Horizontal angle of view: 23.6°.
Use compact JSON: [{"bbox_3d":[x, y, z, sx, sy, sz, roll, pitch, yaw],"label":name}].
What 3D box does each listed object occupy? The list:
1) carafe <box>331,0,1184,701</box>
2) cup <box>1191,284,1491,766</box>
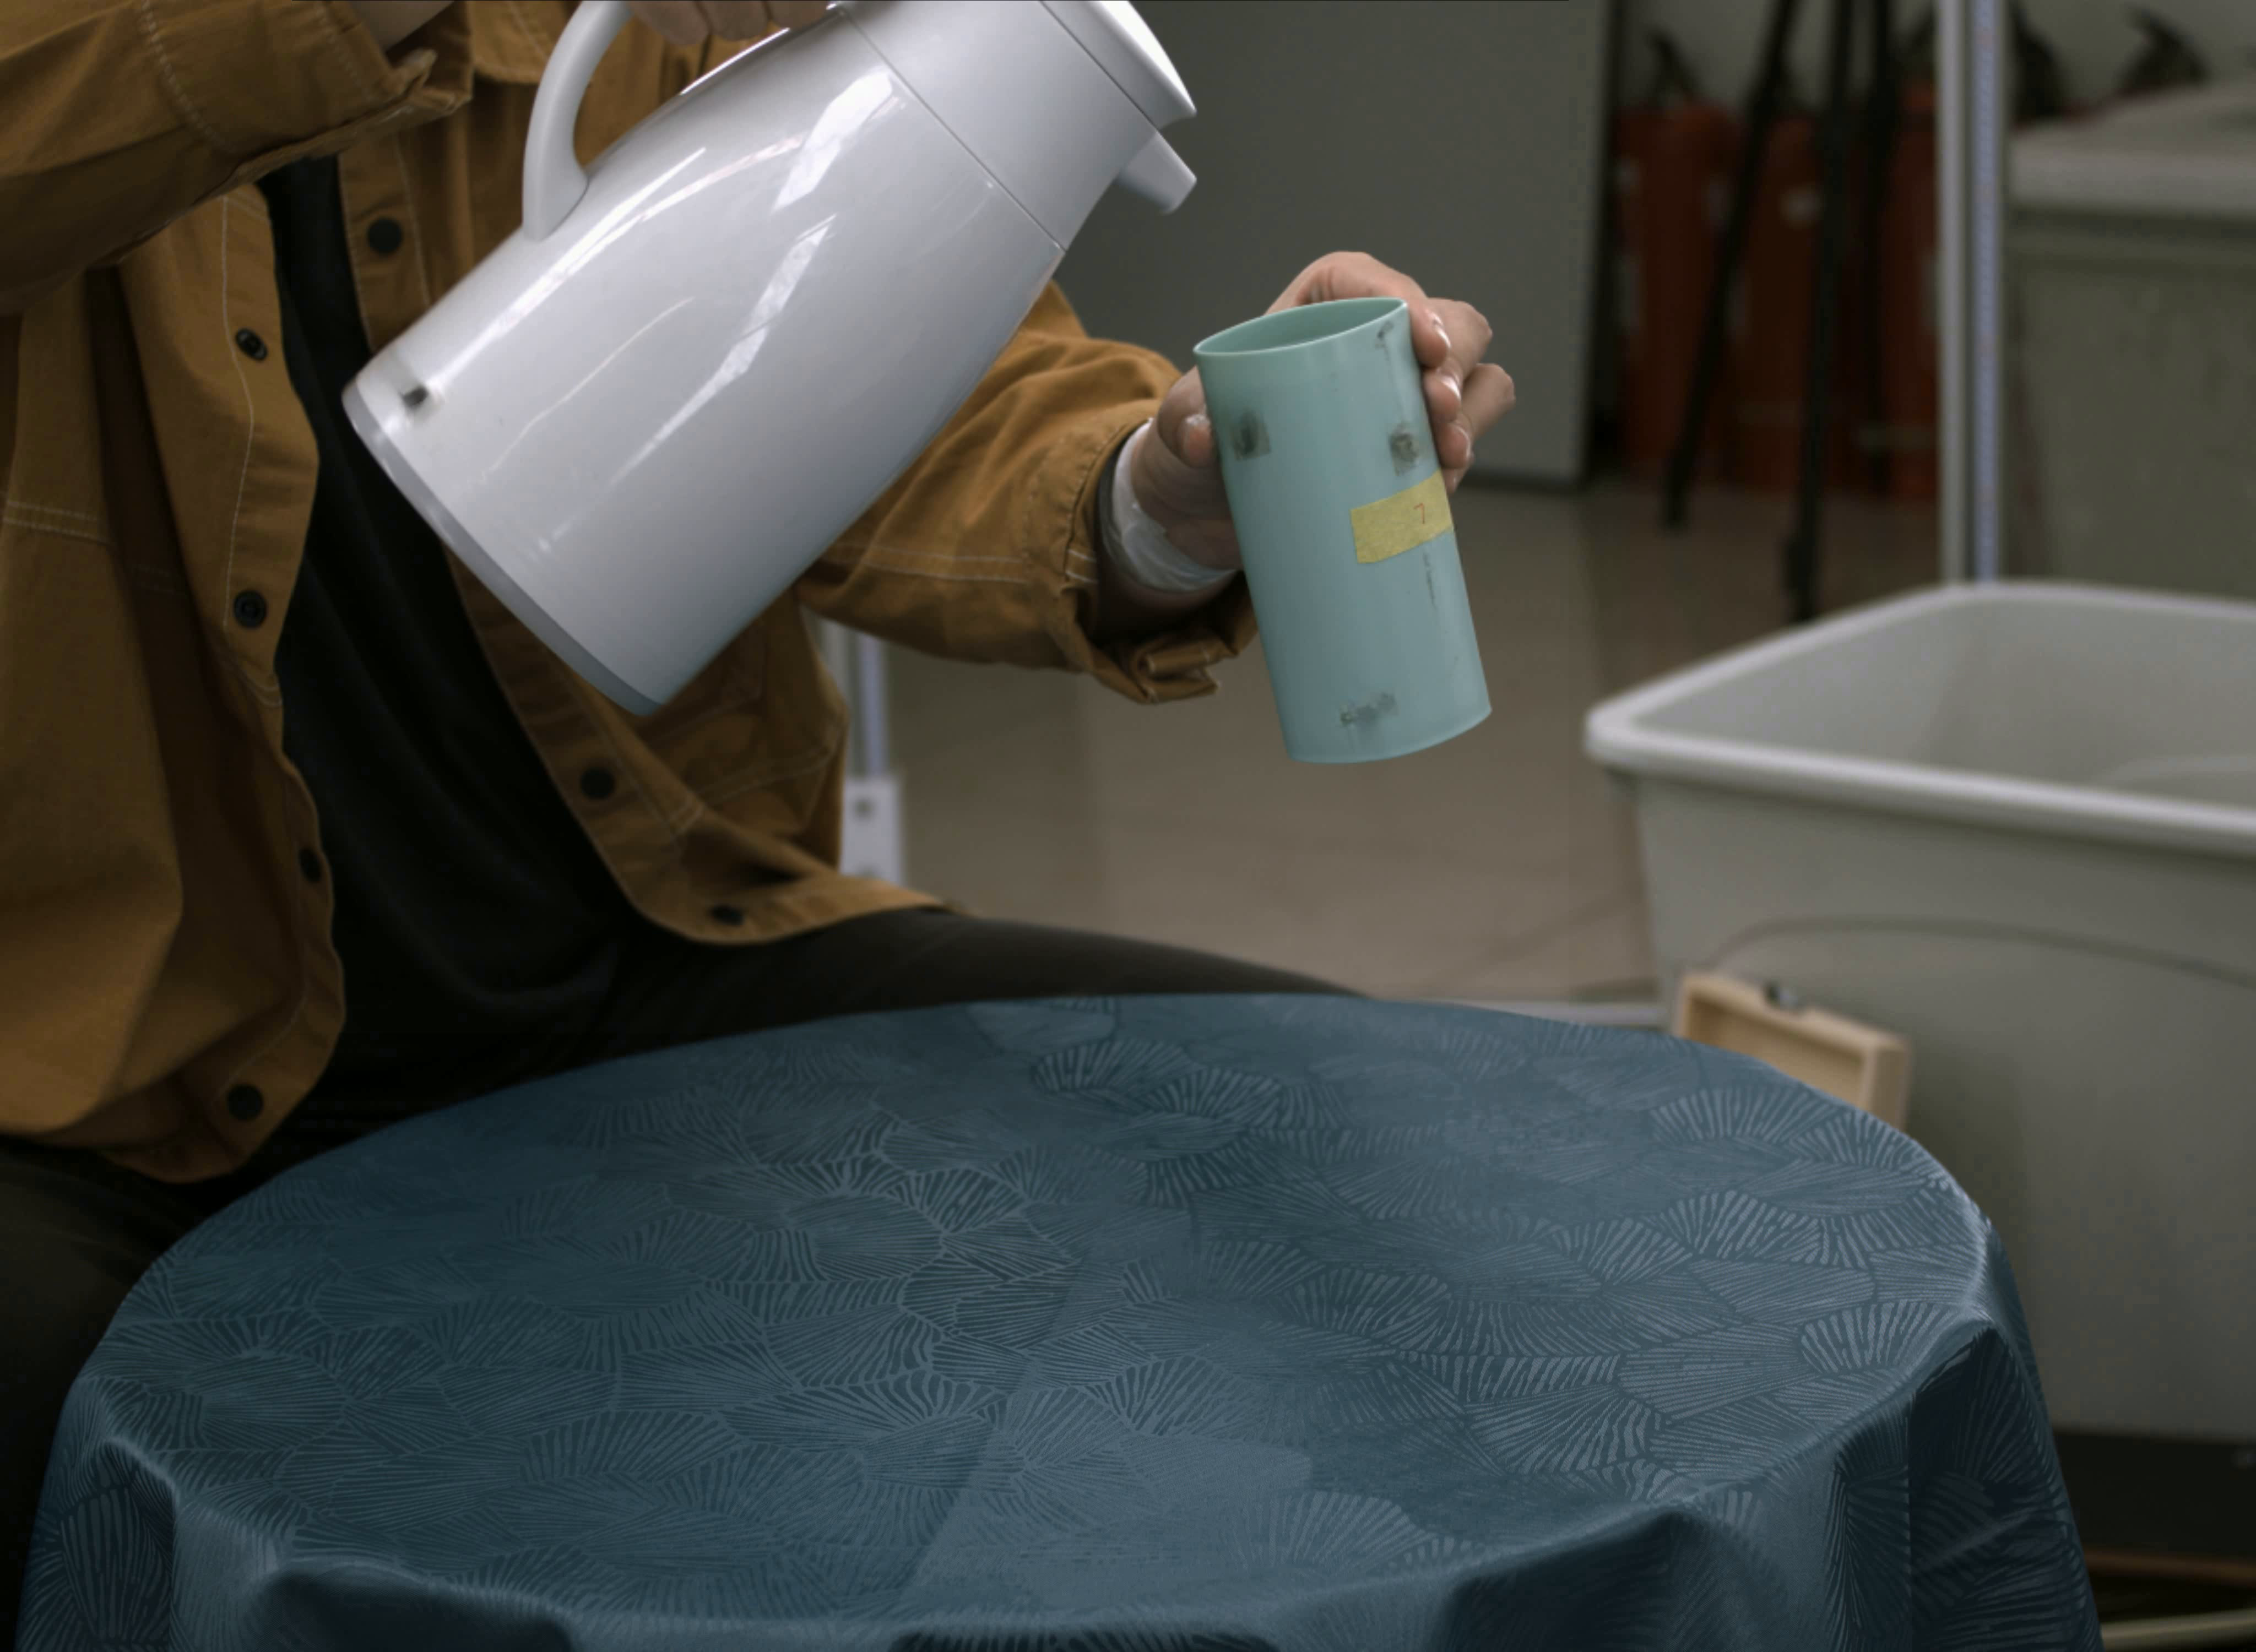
[{"bbox_3d":[-0.110,-0.181,1.567,0.249,0.166,0.133,-43,24,5],"label":"carafe"},{"bbox_3d":[0.064,-0.091,1.632,0.066,0.133,0.067,-13,14,2],"label":"cup"}]
